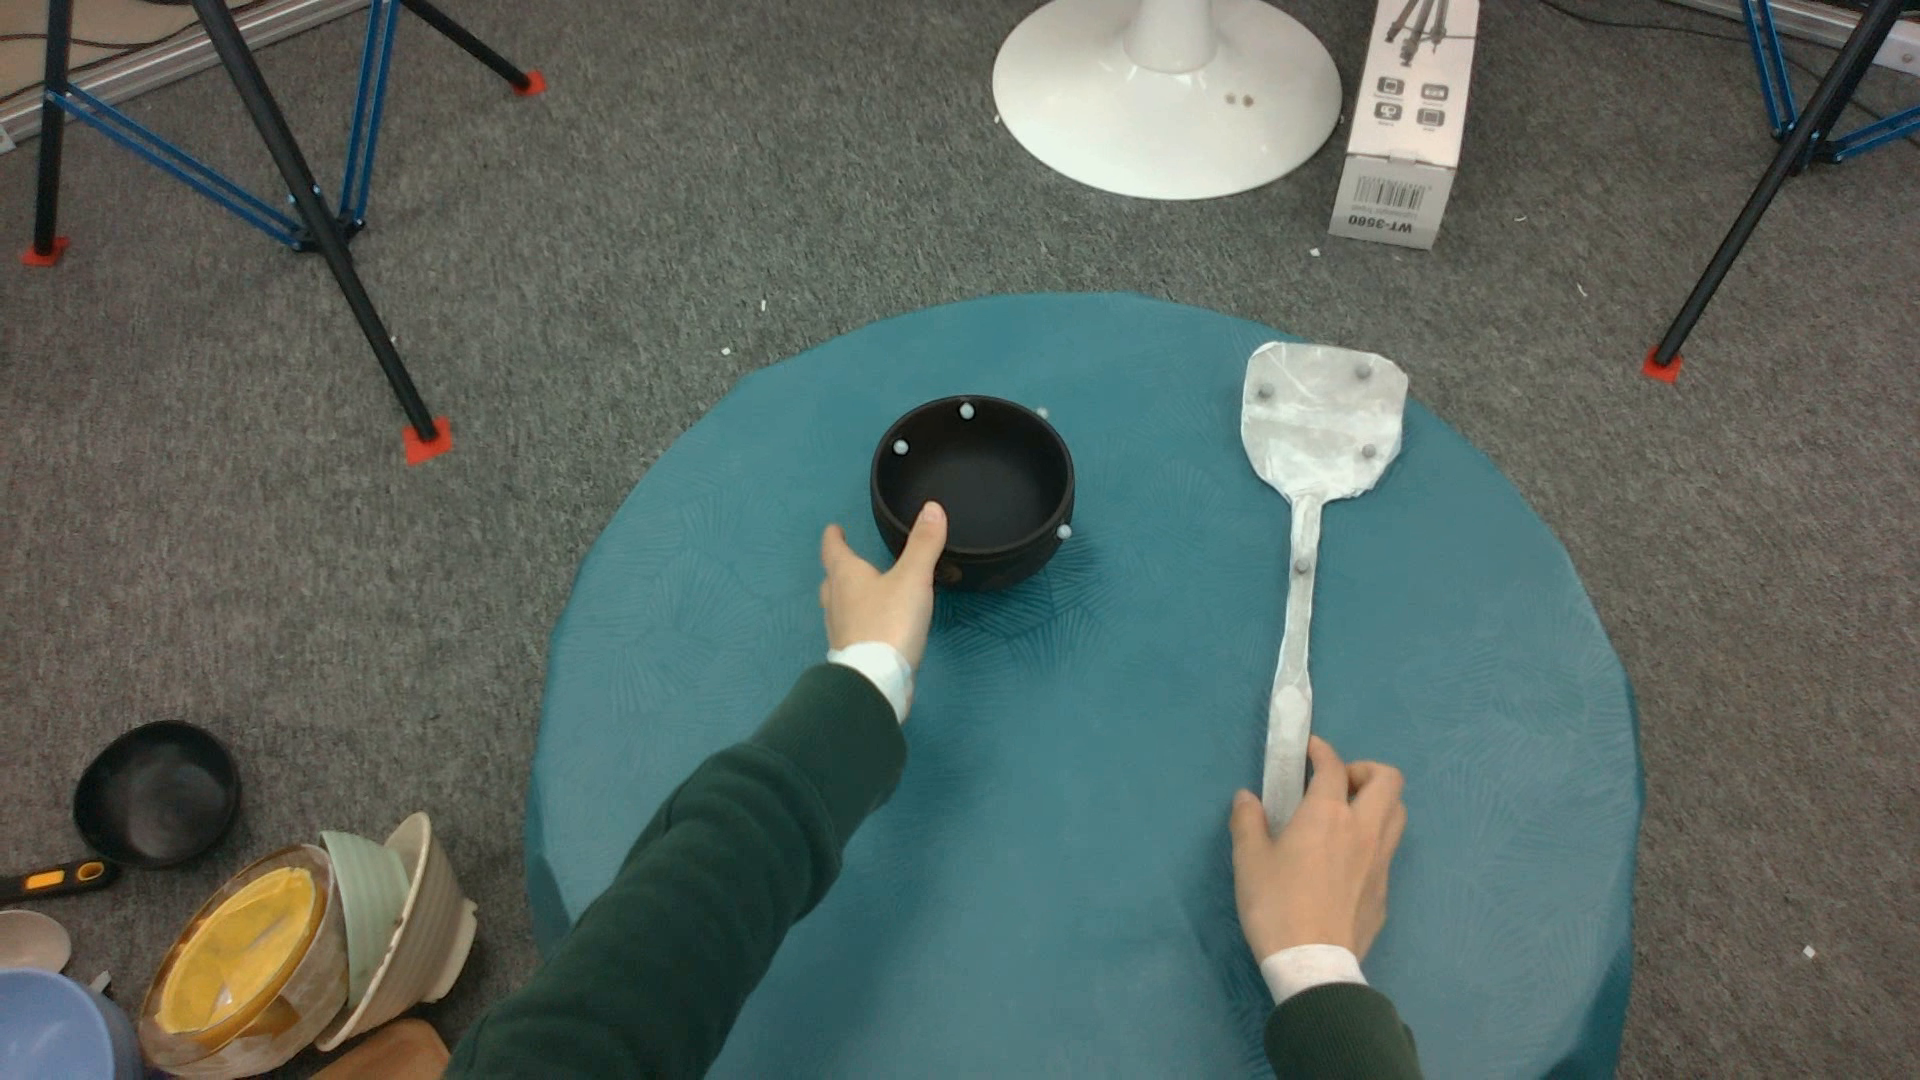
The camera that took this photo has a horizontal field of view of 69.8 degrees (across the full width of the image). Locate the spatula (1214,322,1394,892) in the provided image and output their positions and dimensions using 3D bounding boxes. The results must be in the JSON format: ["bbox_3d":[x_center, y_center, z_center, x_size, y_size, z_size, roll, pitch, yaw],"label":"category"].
[{"bbox_3d":[0.183,0.023,0.777,0.098,0.044,0.366,13,55,6],"label":"spatula"}]

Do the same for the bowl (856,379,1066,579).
[{"bbox_3d":[0.001,-0.028,0.791,0.118,0.069,0.118,-1,55,1],"label":"bowl"}]
